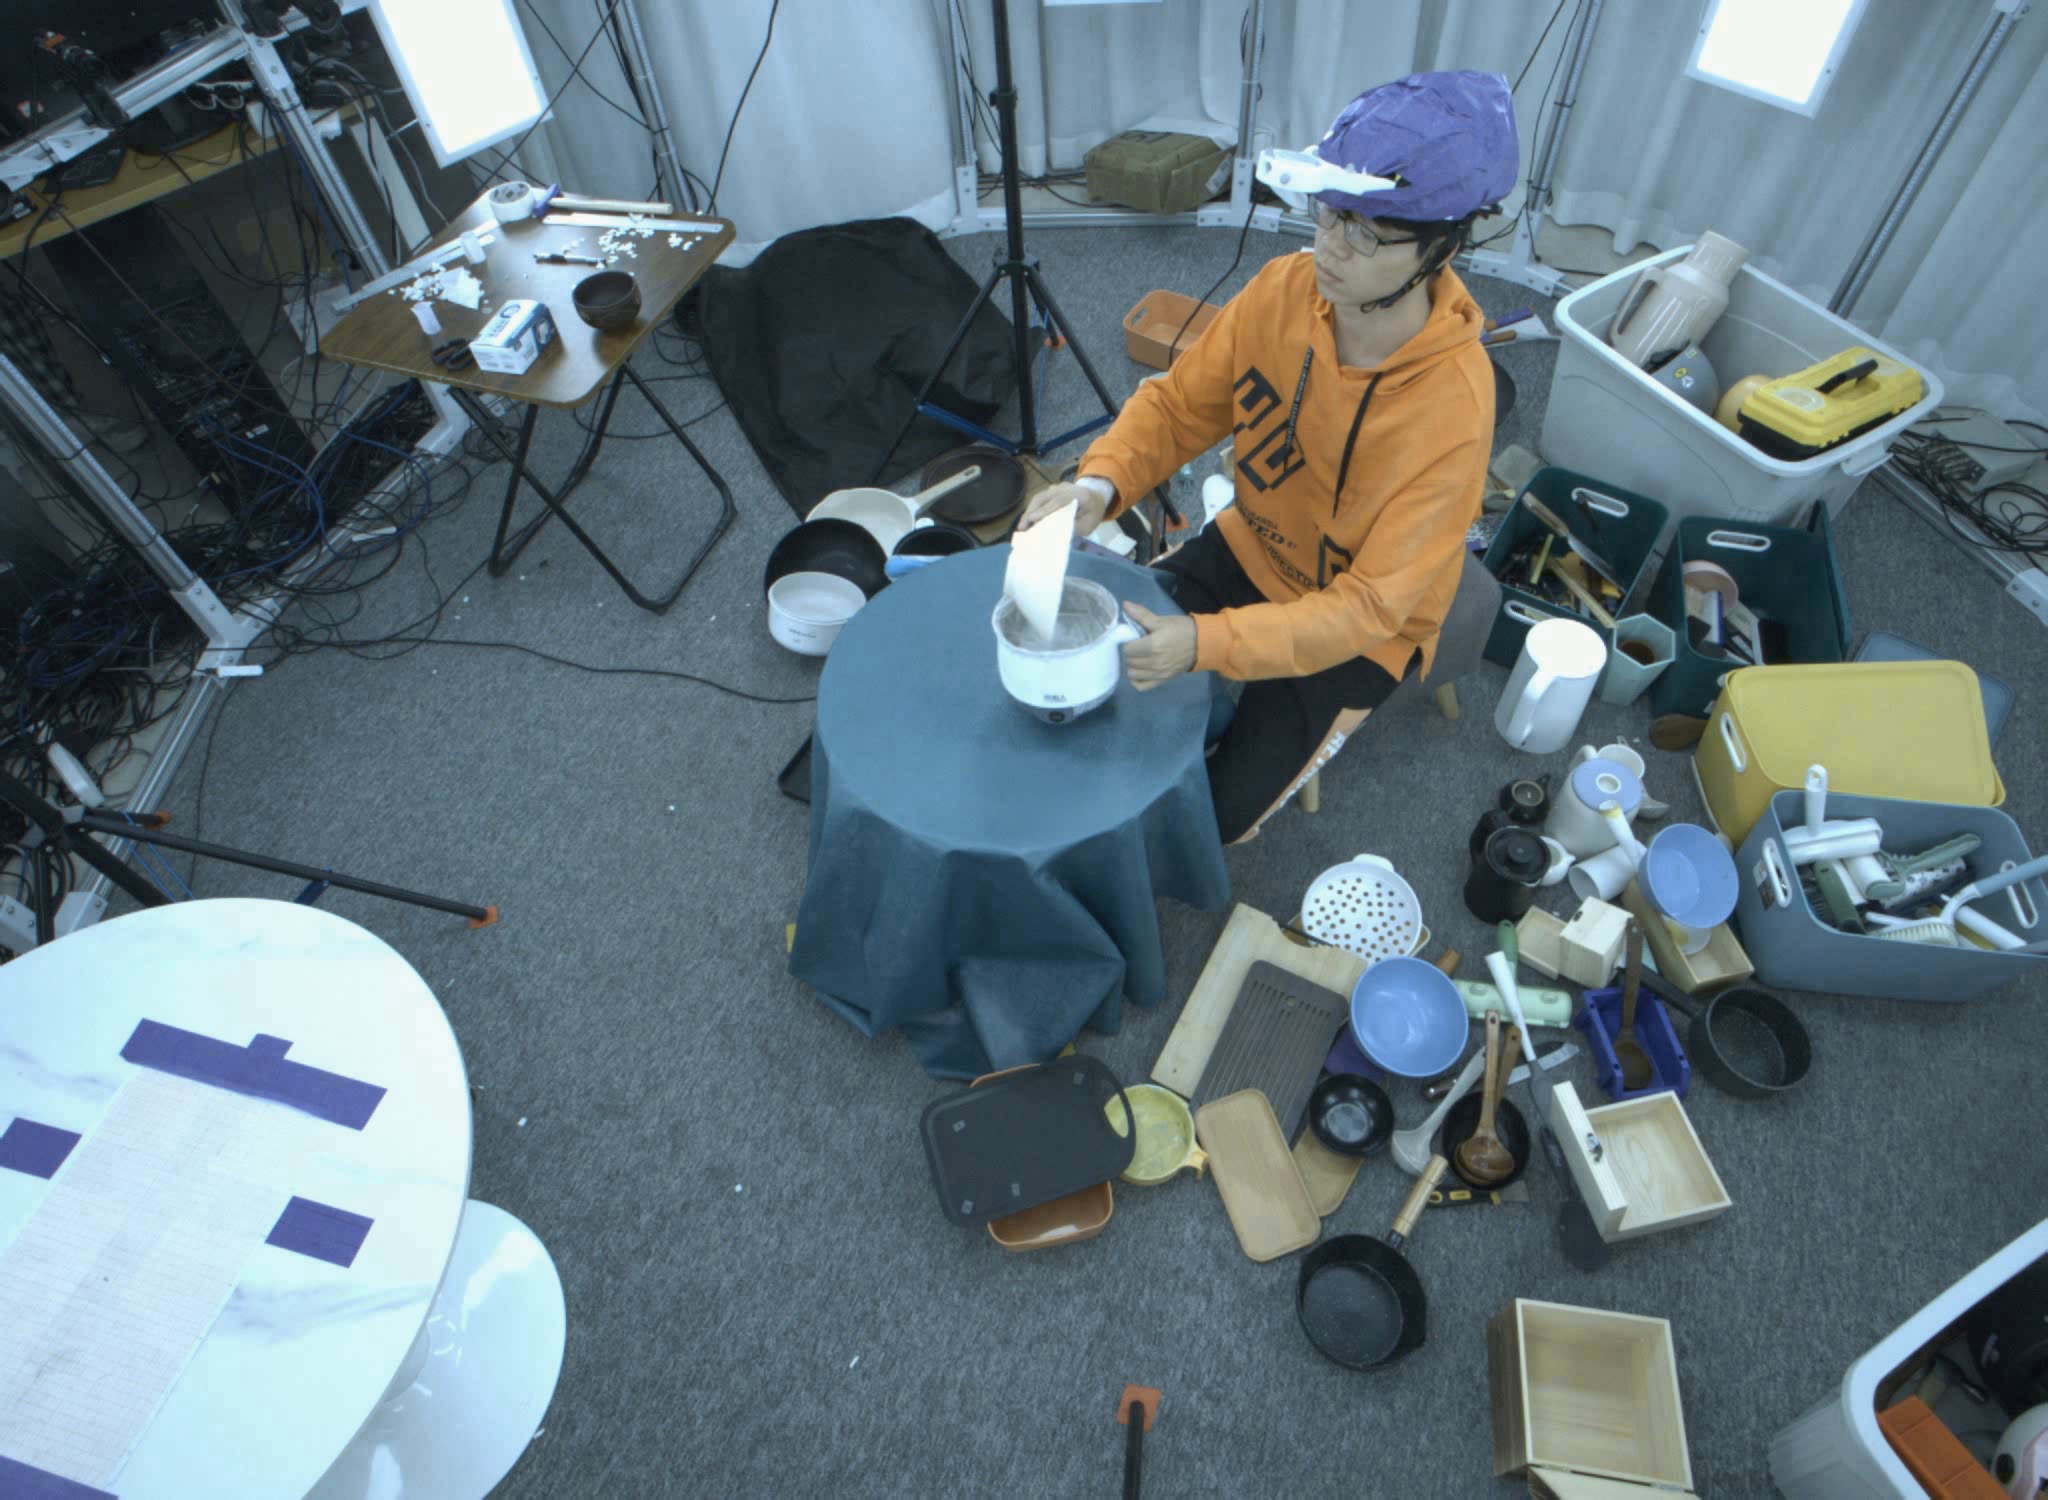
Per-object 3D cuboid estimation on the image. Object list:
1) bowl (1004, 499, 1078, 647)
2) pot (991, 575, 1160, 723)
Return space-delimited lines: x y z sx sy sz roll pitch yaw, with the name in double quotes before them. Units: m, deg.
"bowl" 0.016 -0.245 1.659 0.078 0.205 0.202 9 55 -4
"pot" 0.075 -0.145 1.753 0.233 0.138 0.177 -1 46 6
